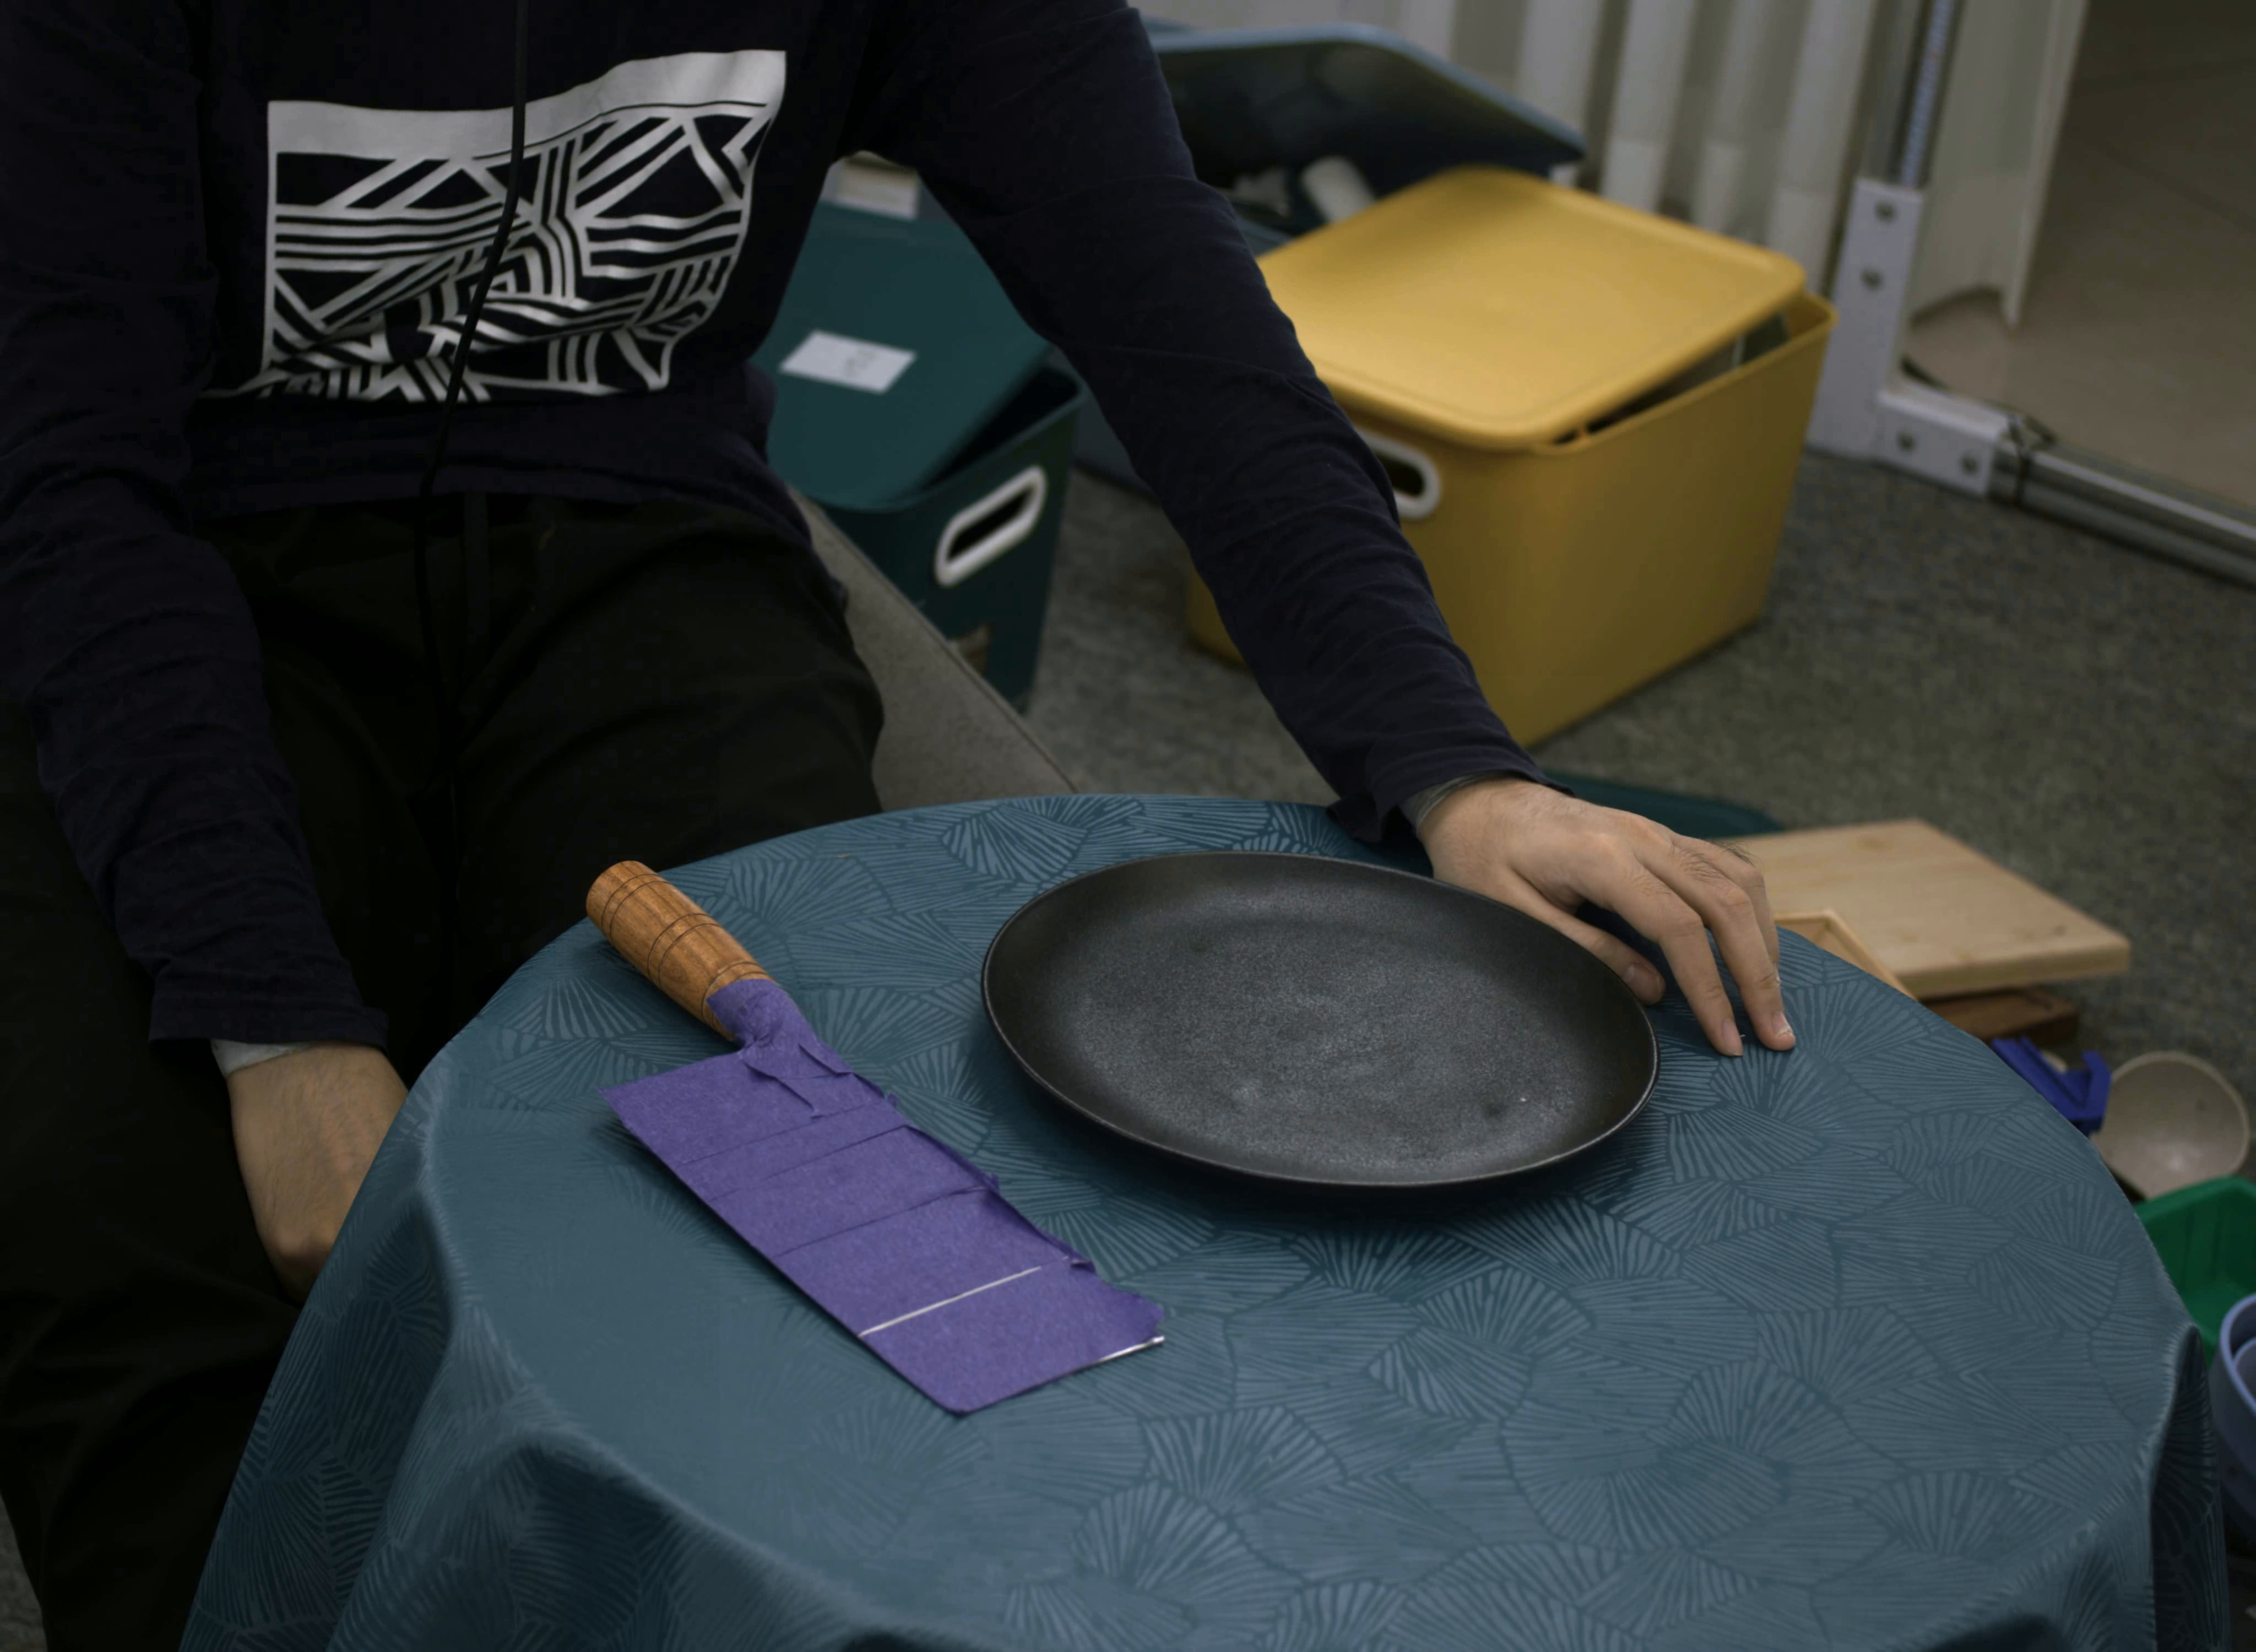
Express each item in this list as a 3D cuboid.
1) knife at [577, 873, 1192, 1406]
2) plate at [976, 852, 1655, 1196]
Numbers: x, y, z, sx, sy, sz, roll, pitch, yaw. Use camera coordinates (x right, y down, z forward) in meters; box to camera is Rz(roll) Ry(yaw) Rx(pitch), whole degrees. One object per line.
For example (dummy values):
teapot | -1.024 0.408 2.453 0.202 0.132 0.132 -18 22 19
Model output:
knife | -0.113 0.101 1.795 0.103 0.032 0.318 -15 34 -36
plate | 0.066 0.074 1.894 0.243 0.023 0.246 5 27 -3
